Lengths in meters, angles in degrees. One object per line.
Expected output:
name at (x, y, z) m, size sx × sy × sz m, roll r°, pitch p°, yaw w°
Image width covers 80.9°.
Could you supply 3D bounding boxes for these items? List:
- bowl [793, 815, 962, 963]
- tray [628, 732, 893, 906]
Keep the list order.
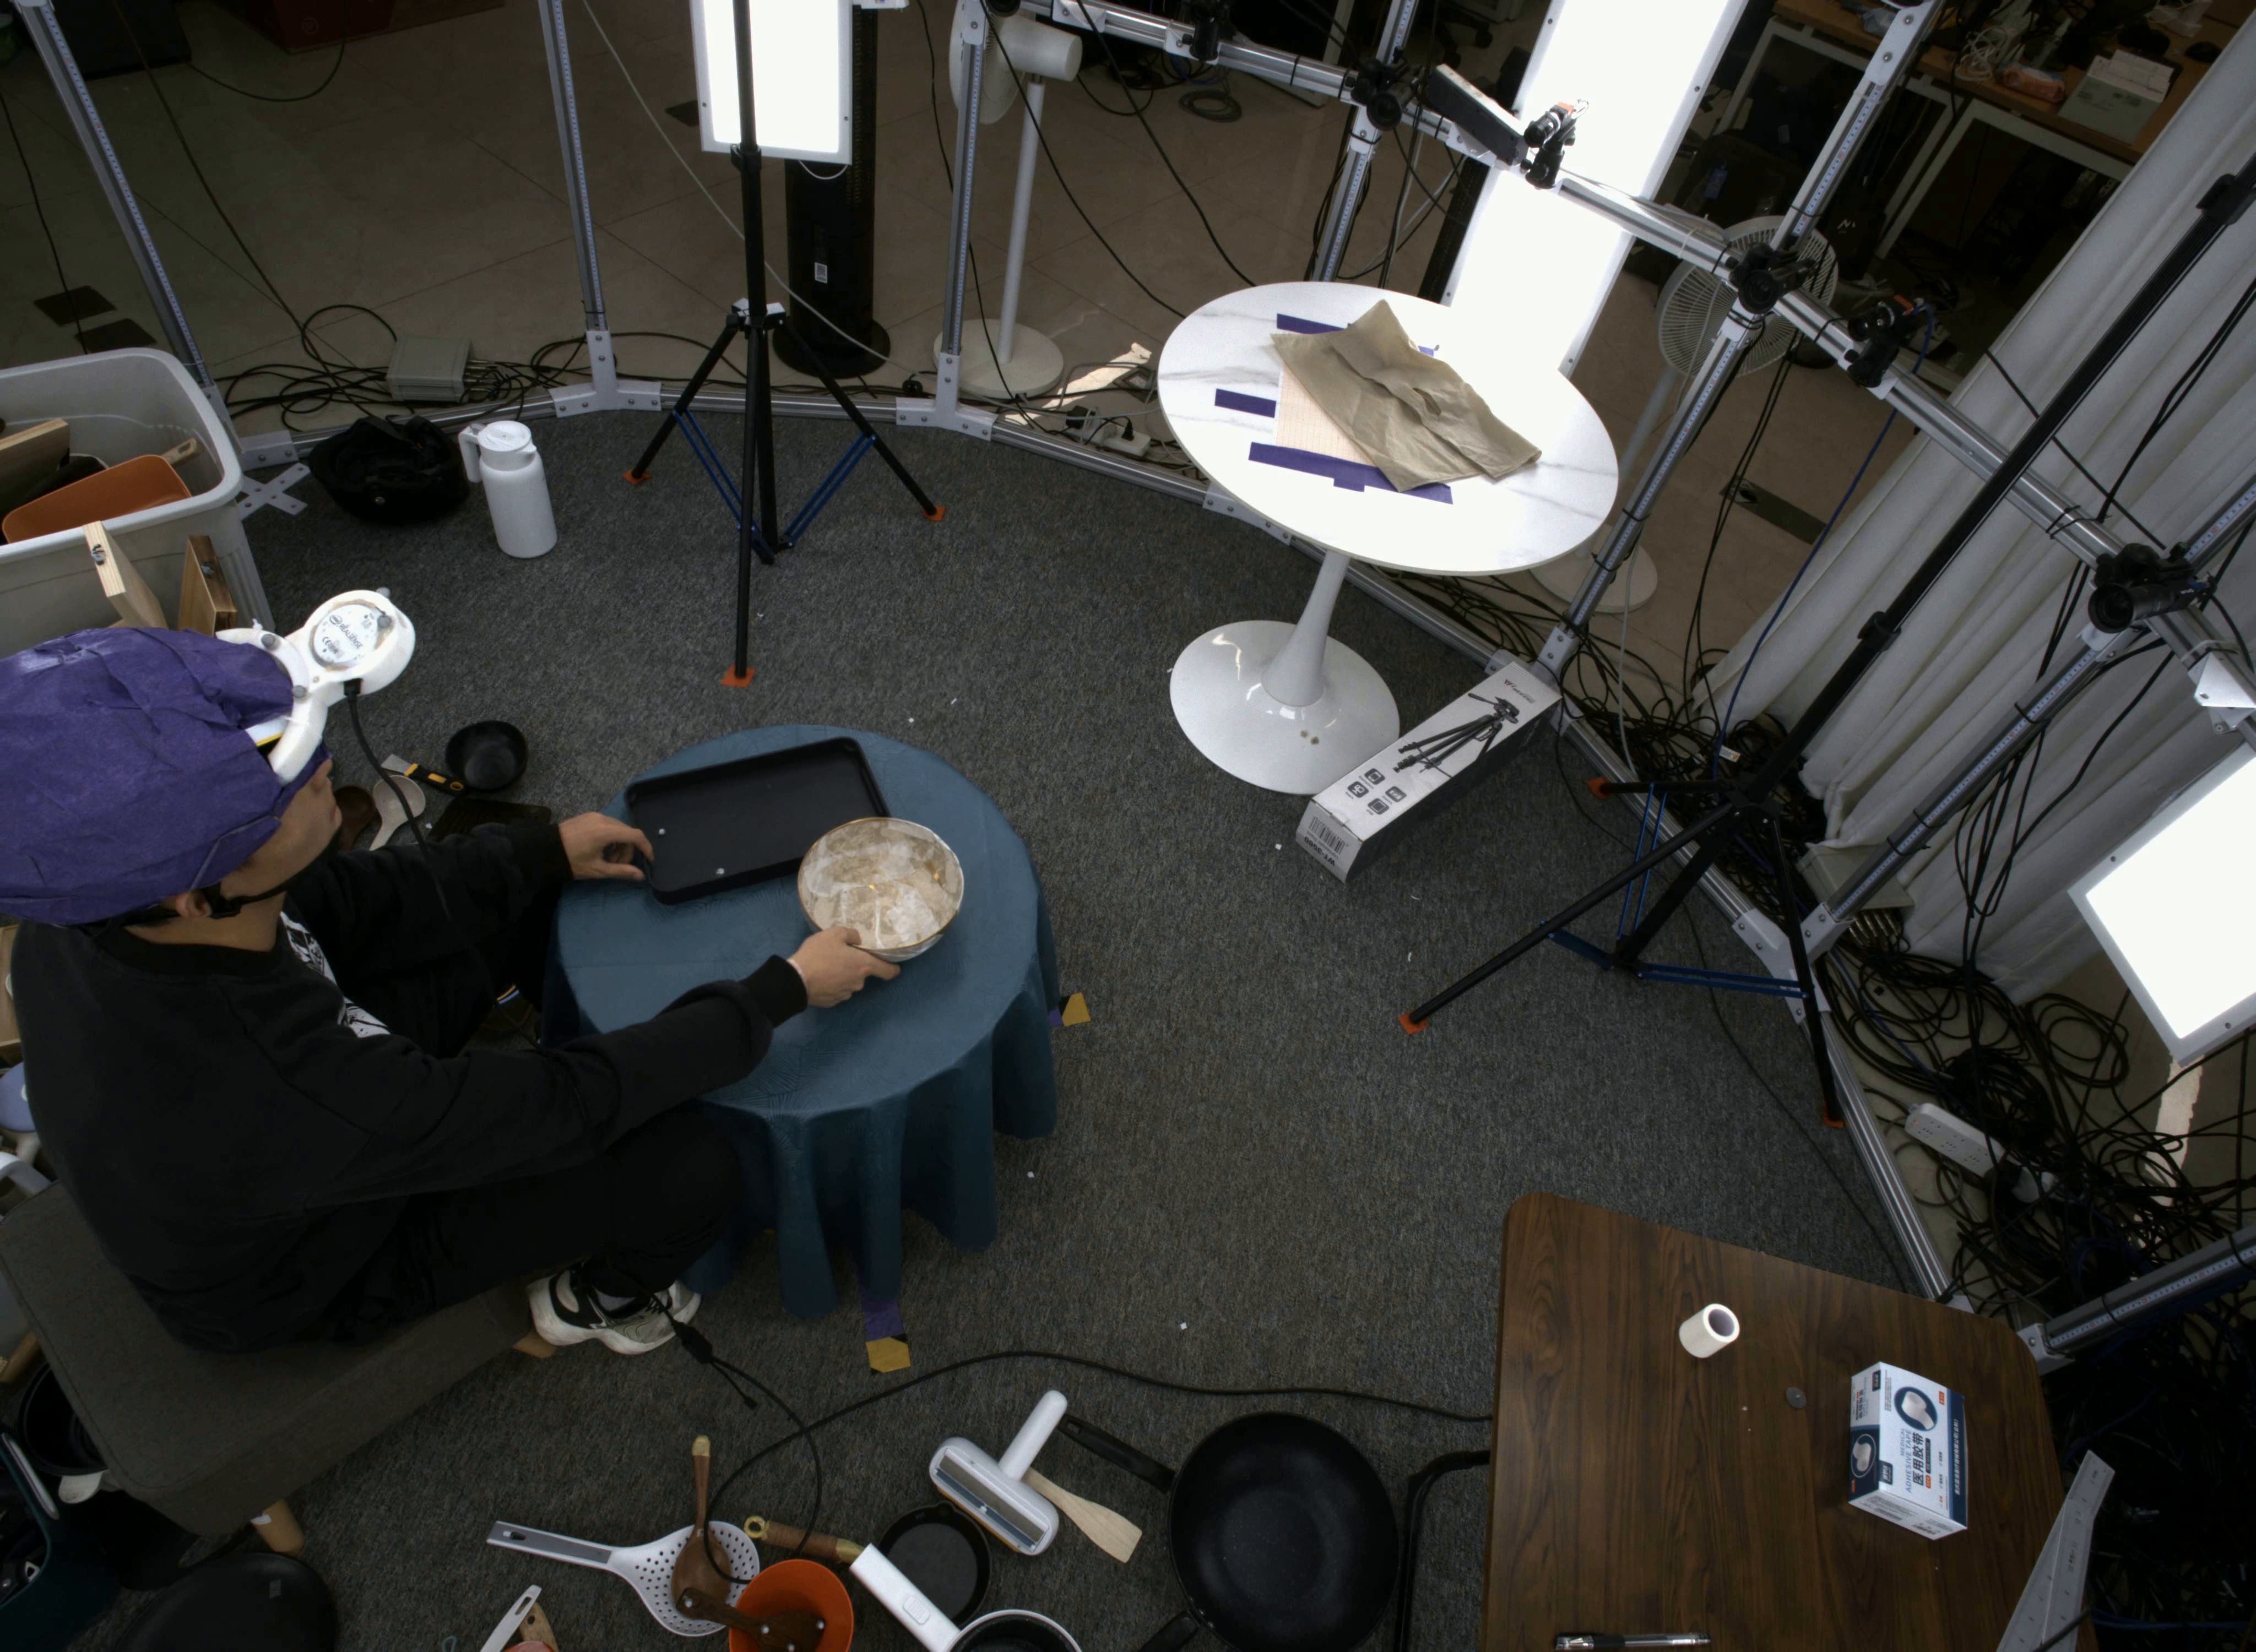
bowl at (-0.315, 0.092, 1.629) m, size 0.214 × 0.096 × 0.211 m, roll 8°, pitch 53°, yaw -9°
tray at (-0.481, -0.015, 1.698) m, size 0.319 × 0.038 × 0.180 m, roll -15°, pitch 61°, yaw -22°
